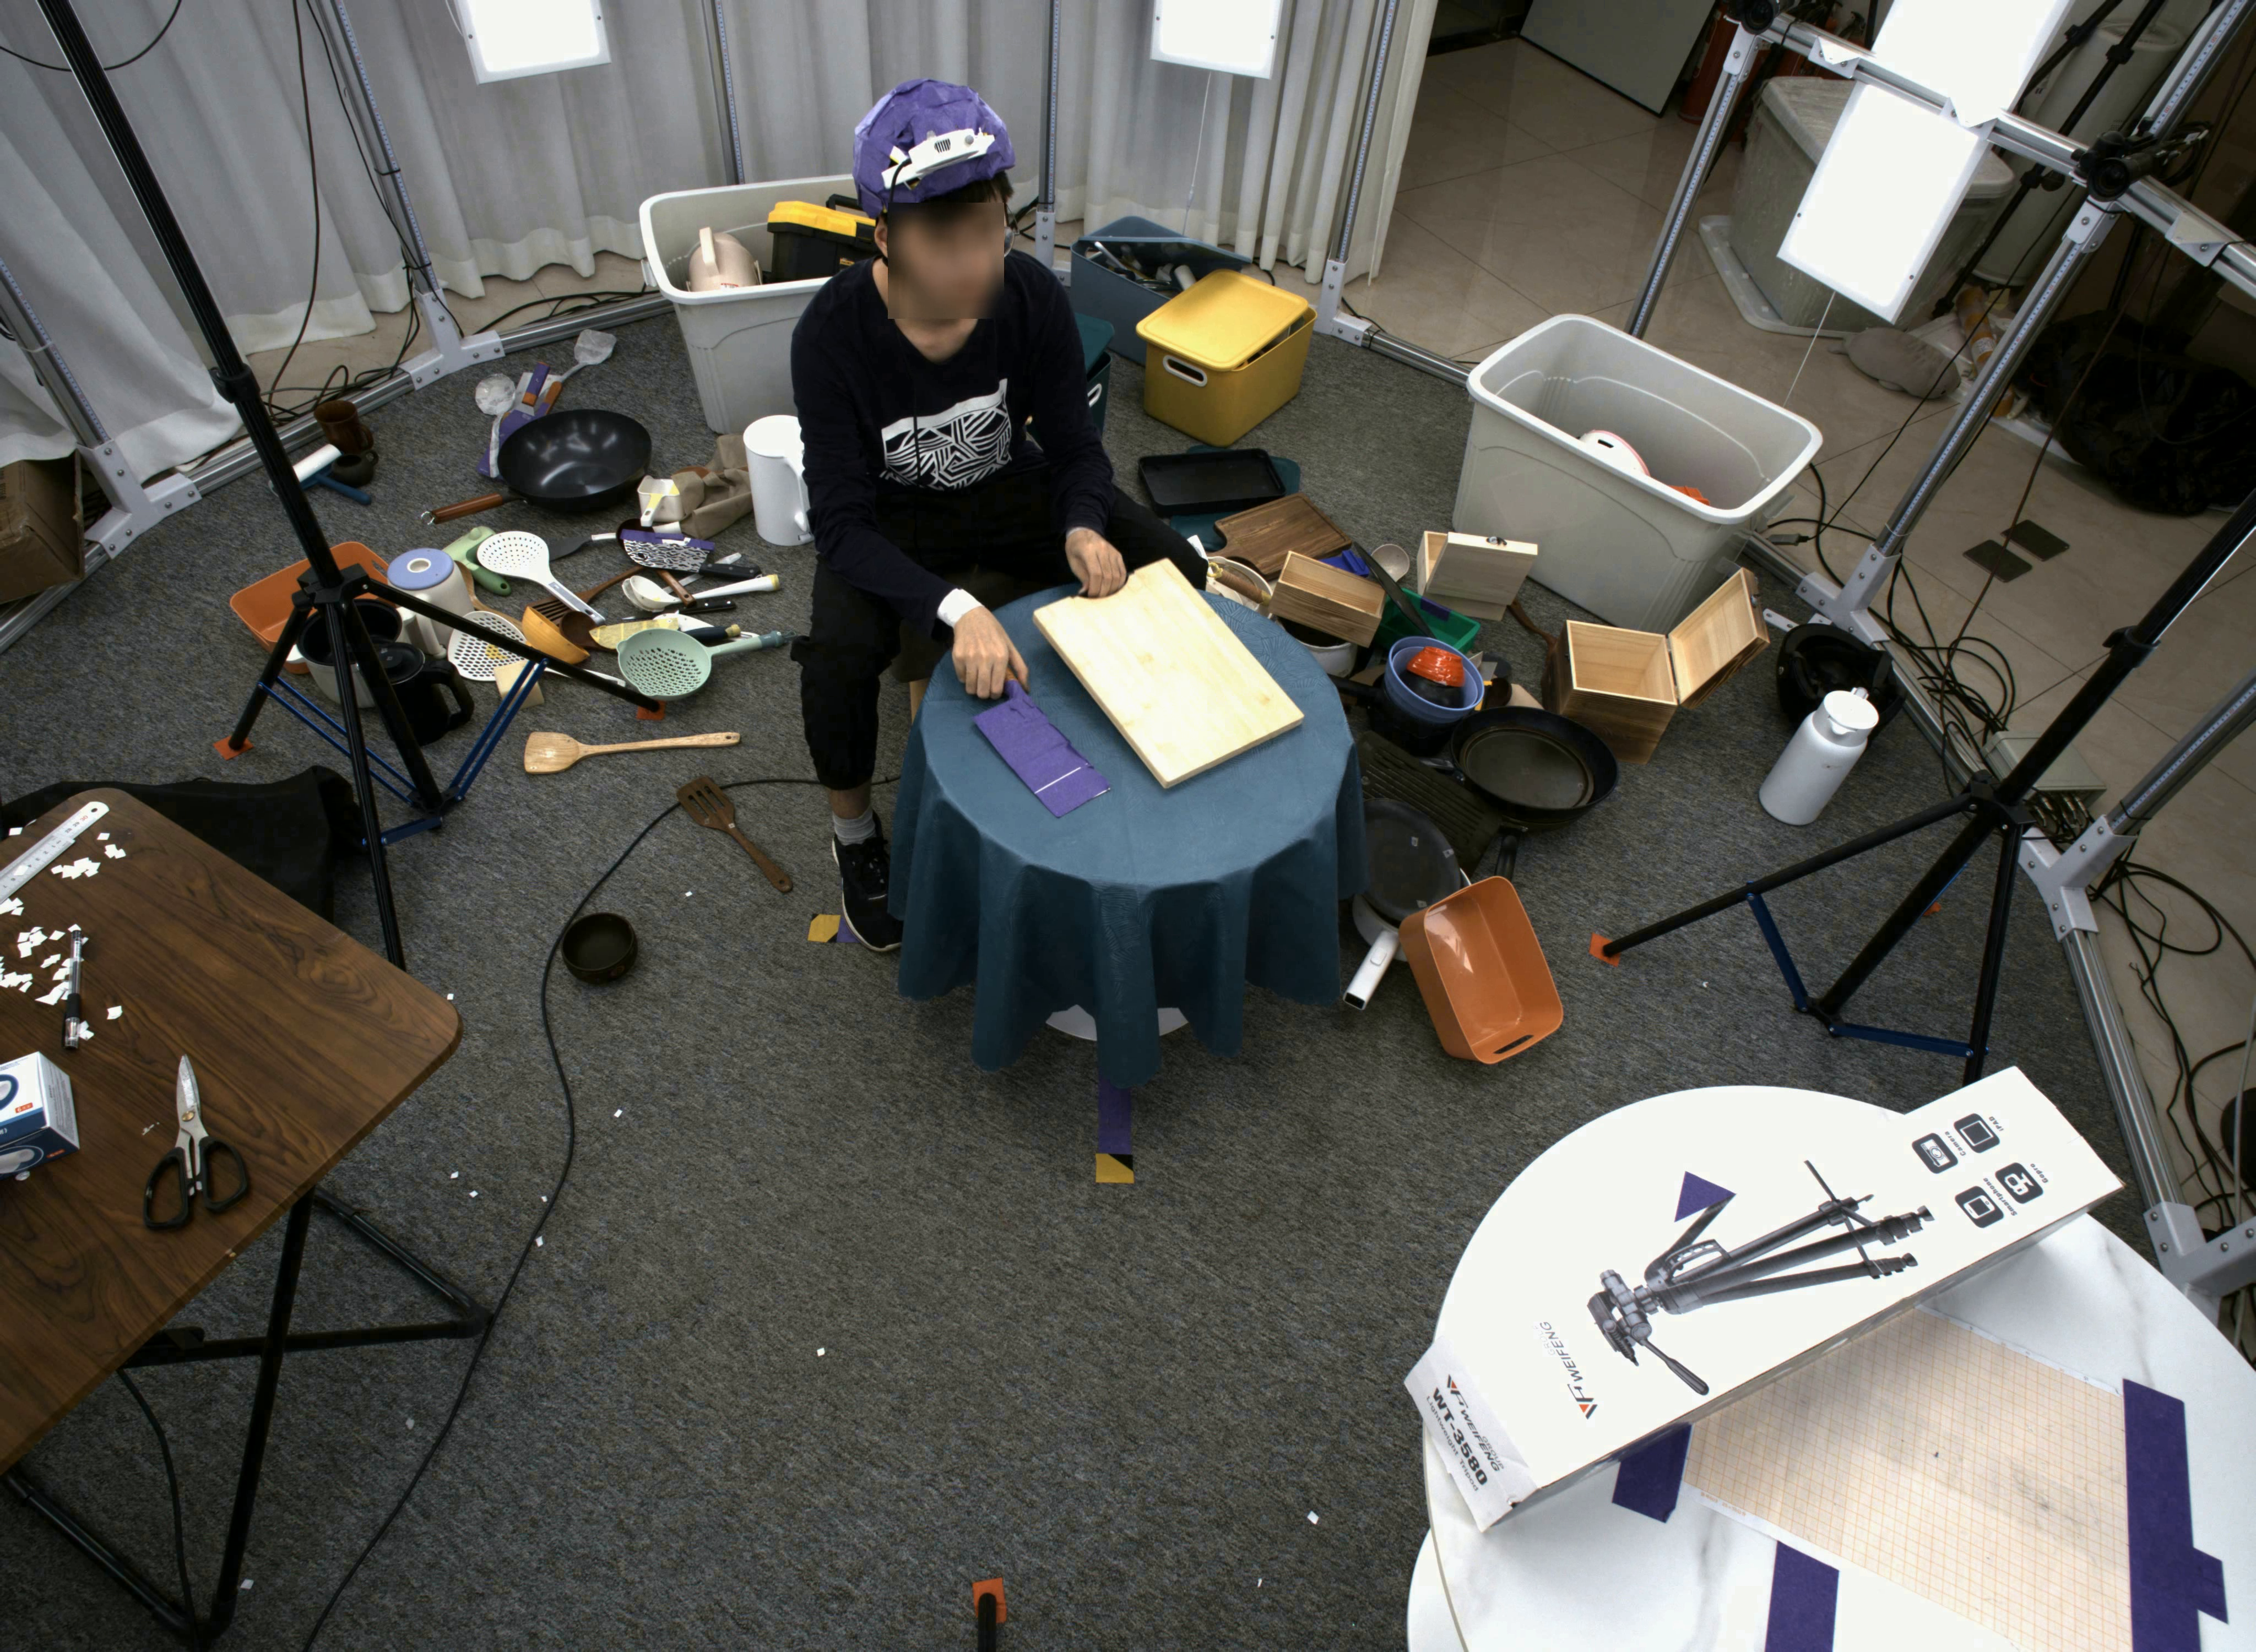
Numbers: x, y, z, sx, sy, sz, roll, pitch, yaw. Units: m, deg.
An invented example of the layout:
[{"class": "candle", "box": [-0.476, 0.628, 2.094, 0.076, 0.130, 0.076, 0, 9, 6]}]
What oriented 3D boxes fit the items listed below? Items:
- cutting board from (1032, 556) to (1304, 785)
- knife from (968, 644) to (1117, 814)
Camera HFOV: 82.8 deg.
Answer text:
[{"class": "cutting board", "box": [0.053, -0.229, 1.831, 0.252, 0.023, 0.355, -26, 62, -24]}, {"class": "knife", "box": [-0.147, -0.137, 1.758, 0.104, 0.031, 0.321, -28, 57, -25]}]
